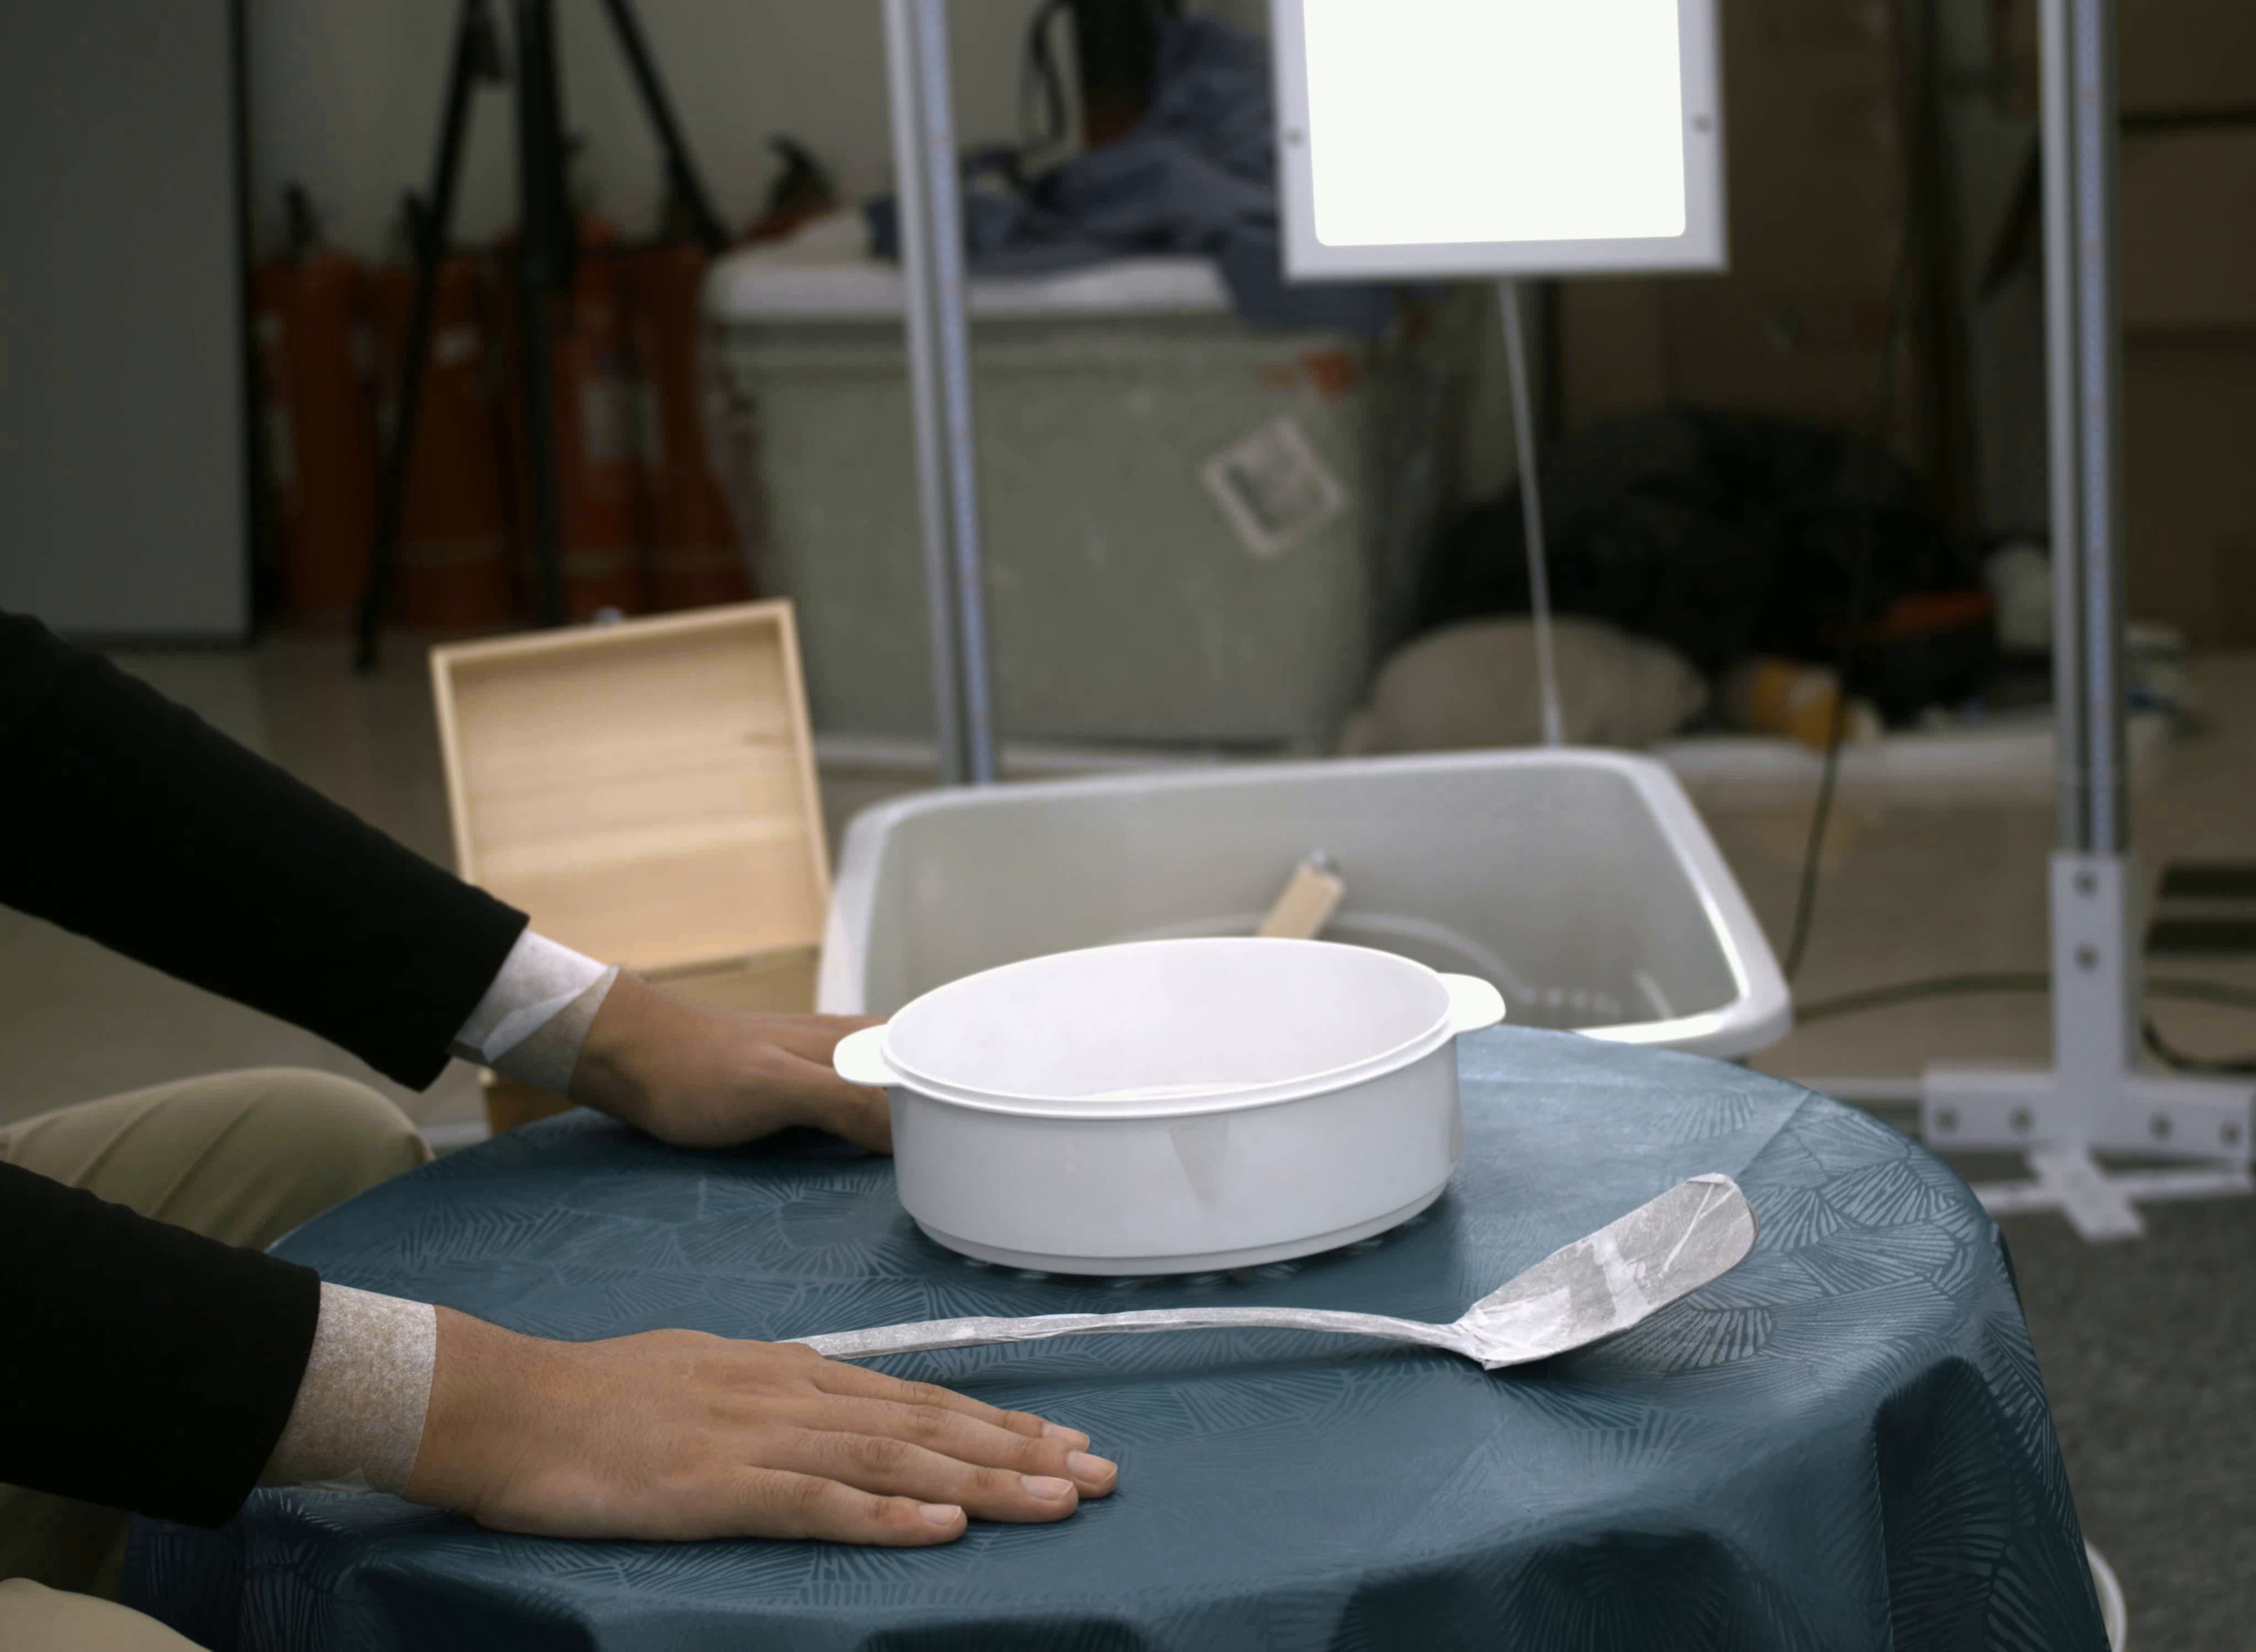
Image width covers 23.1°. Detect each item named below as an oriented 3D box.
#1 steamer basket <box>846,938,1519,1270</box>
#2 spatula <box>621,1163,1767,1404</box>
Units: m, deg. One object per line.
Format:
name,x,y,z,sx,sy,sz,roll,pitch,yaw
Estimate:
steamer basket,0.021,0.095,1.874,0.230,0.069,0.202,-6,13,-1
spatula,0.018,0.150,1.717,0.365,0.045,0.098,-4,16,5
